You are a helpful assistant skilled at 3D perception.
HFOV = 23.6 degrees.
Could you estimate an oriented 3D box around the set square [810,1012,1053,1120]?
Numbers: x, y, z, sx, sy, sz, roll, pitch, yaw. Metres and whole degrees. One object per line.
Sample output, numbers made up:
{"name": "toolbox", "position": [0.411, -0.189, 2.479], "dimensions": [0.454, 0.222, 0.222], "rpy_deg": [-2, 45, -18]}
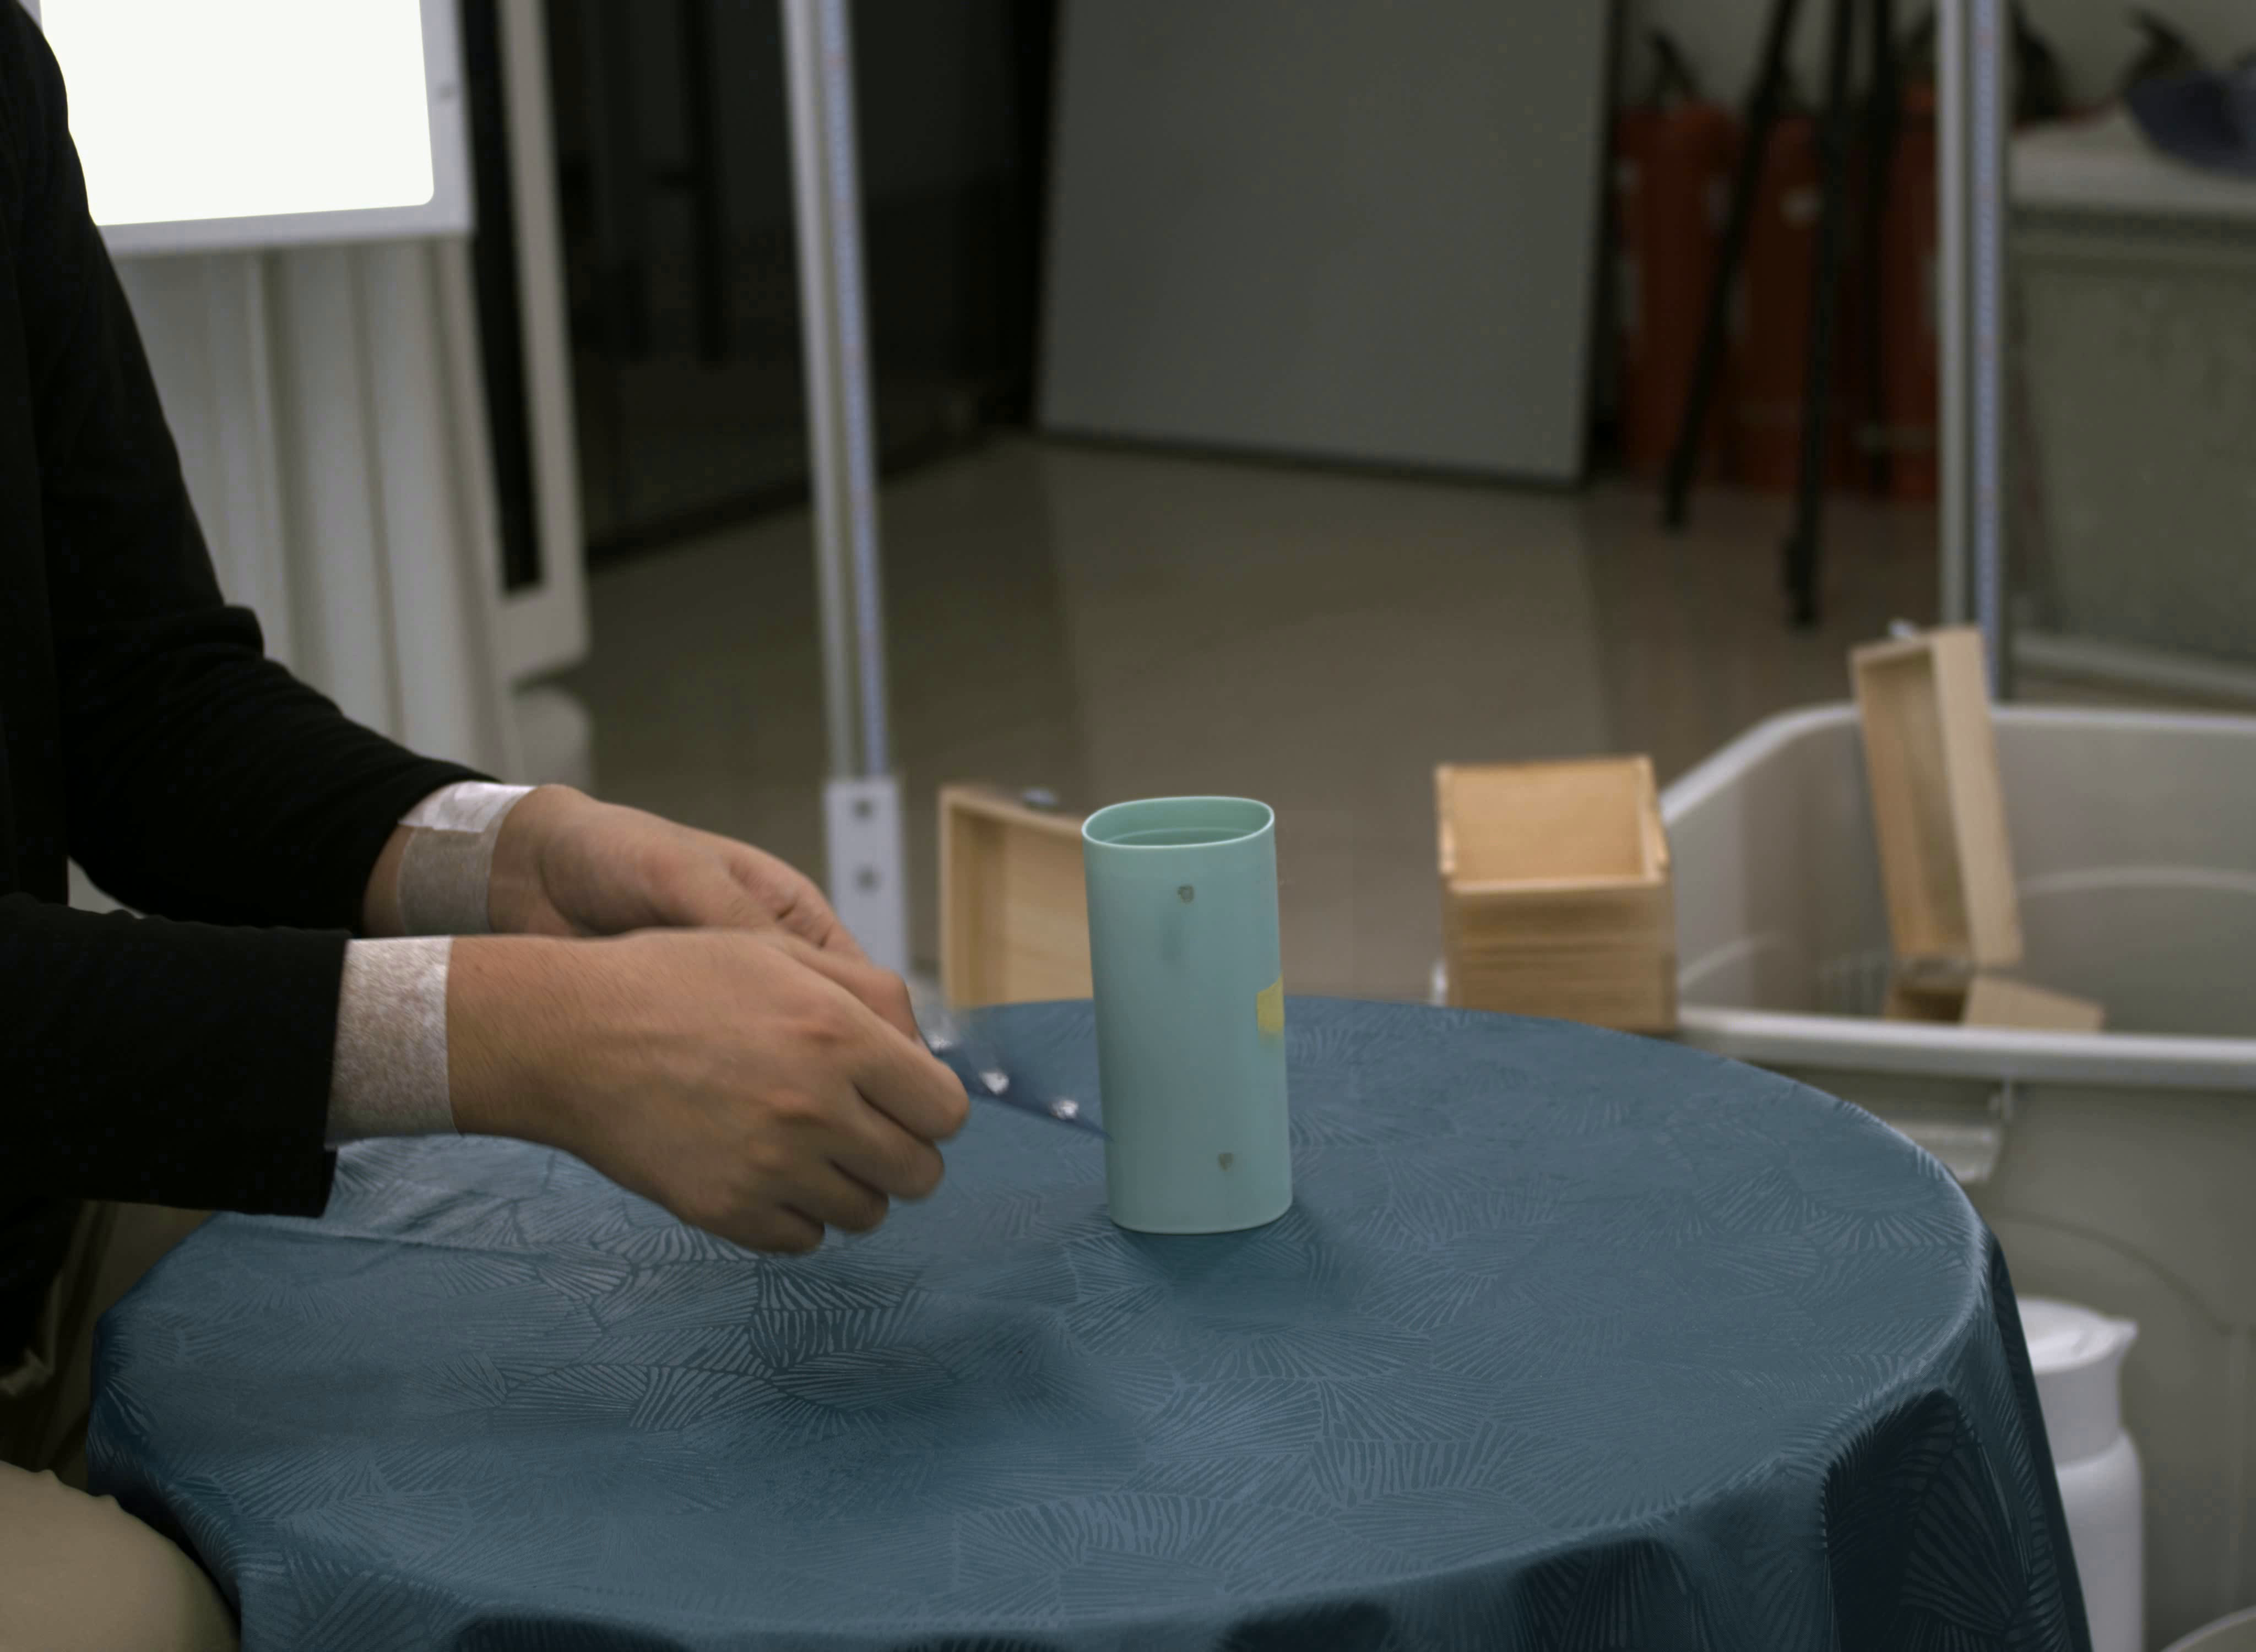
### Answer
{"name": "set square", "position": [-0.060, 0.069, 1.615], "dimensions": [0.060, 0.006, 0.133], "rpy_deg": [8, 8, -13]}

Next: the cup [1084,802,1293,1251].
{"name": "cup", "position": [0.019, 0.064, 1.737], "dimensions": [0.066, 0.134, 0.067], "rpy_deg": [-3, 14, 0]}
